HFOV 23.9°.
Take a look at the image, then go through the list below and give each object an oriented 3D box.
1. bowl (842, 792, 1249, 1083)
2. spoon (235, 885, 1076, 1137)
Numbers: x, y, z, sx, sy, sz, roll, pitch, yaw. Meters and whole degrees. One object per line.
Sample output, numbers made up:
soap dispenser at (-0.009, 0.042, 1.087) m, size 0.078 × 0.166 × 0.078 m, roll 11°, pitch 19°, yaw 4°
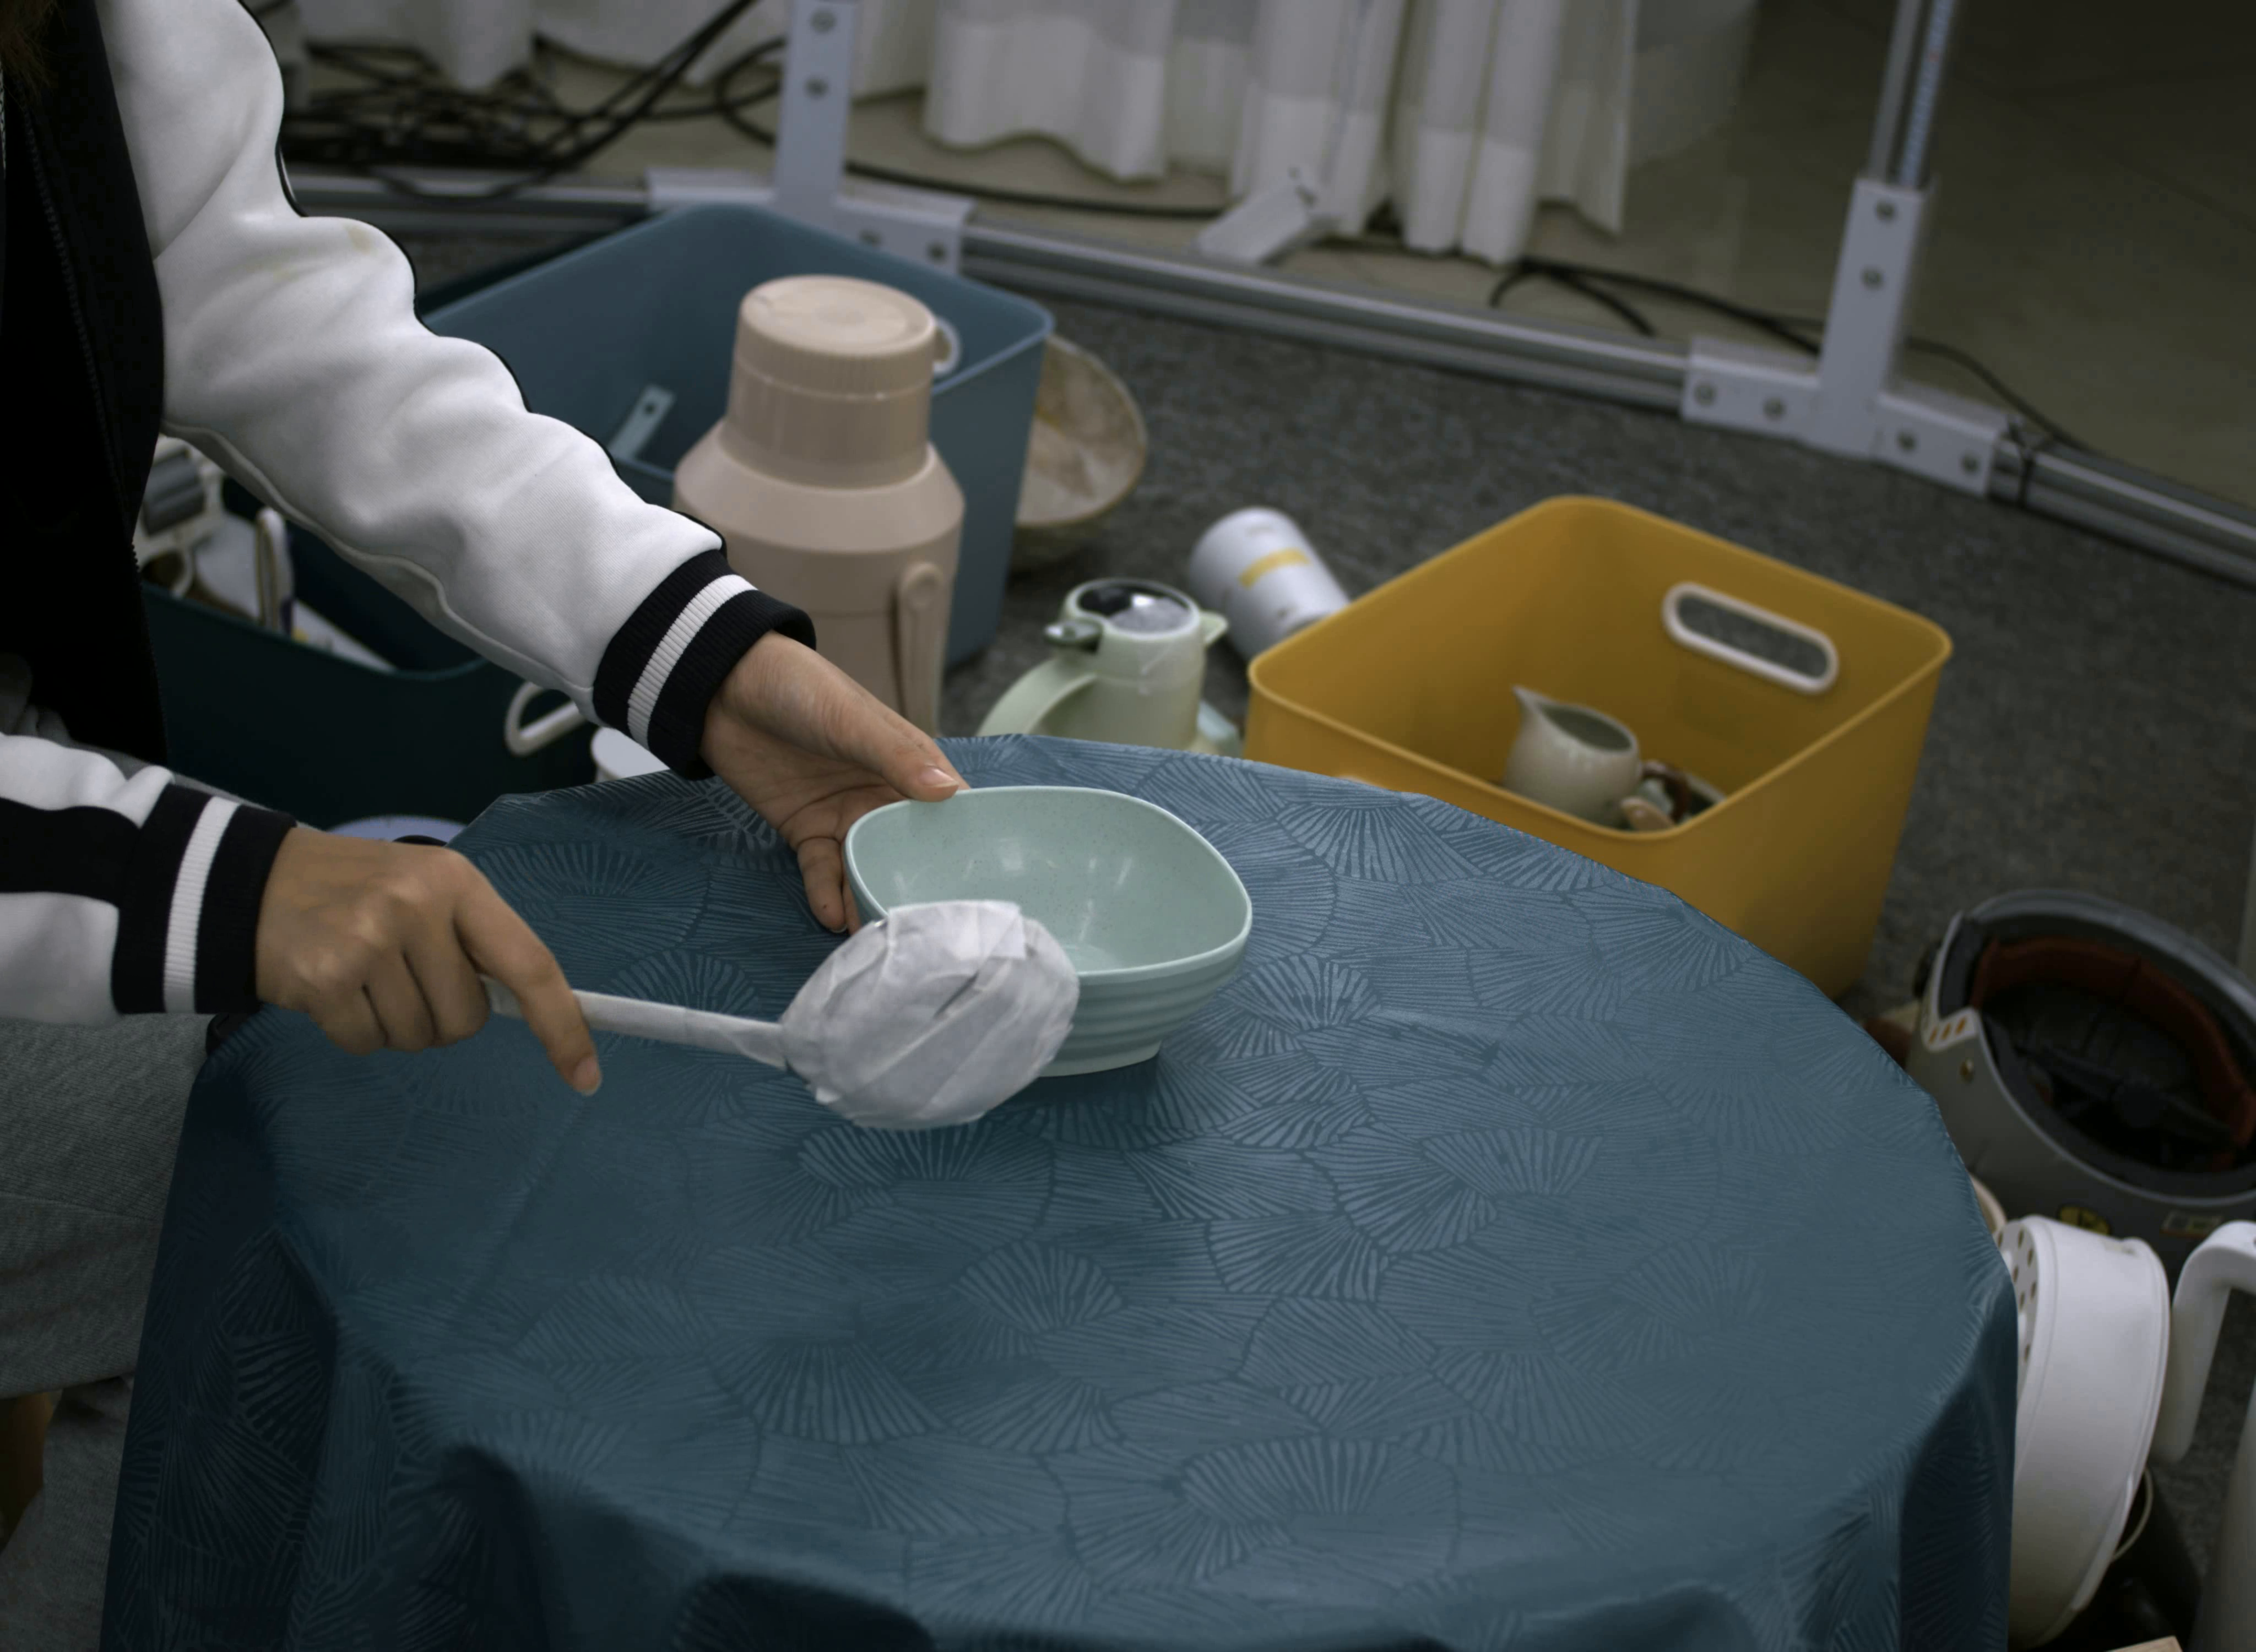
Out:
bowl at (-0.032, 0.045, 1.891) m, size 0.151 × 0.058 × 0.152 m, roll 5°, pitch 27°, yaw -3°
spoon at (-0.155, 0.051, 1.733) m, size 0.278 × 0.100 × 0.059 m, roll 7°, pitch 34°, yaw 19°
